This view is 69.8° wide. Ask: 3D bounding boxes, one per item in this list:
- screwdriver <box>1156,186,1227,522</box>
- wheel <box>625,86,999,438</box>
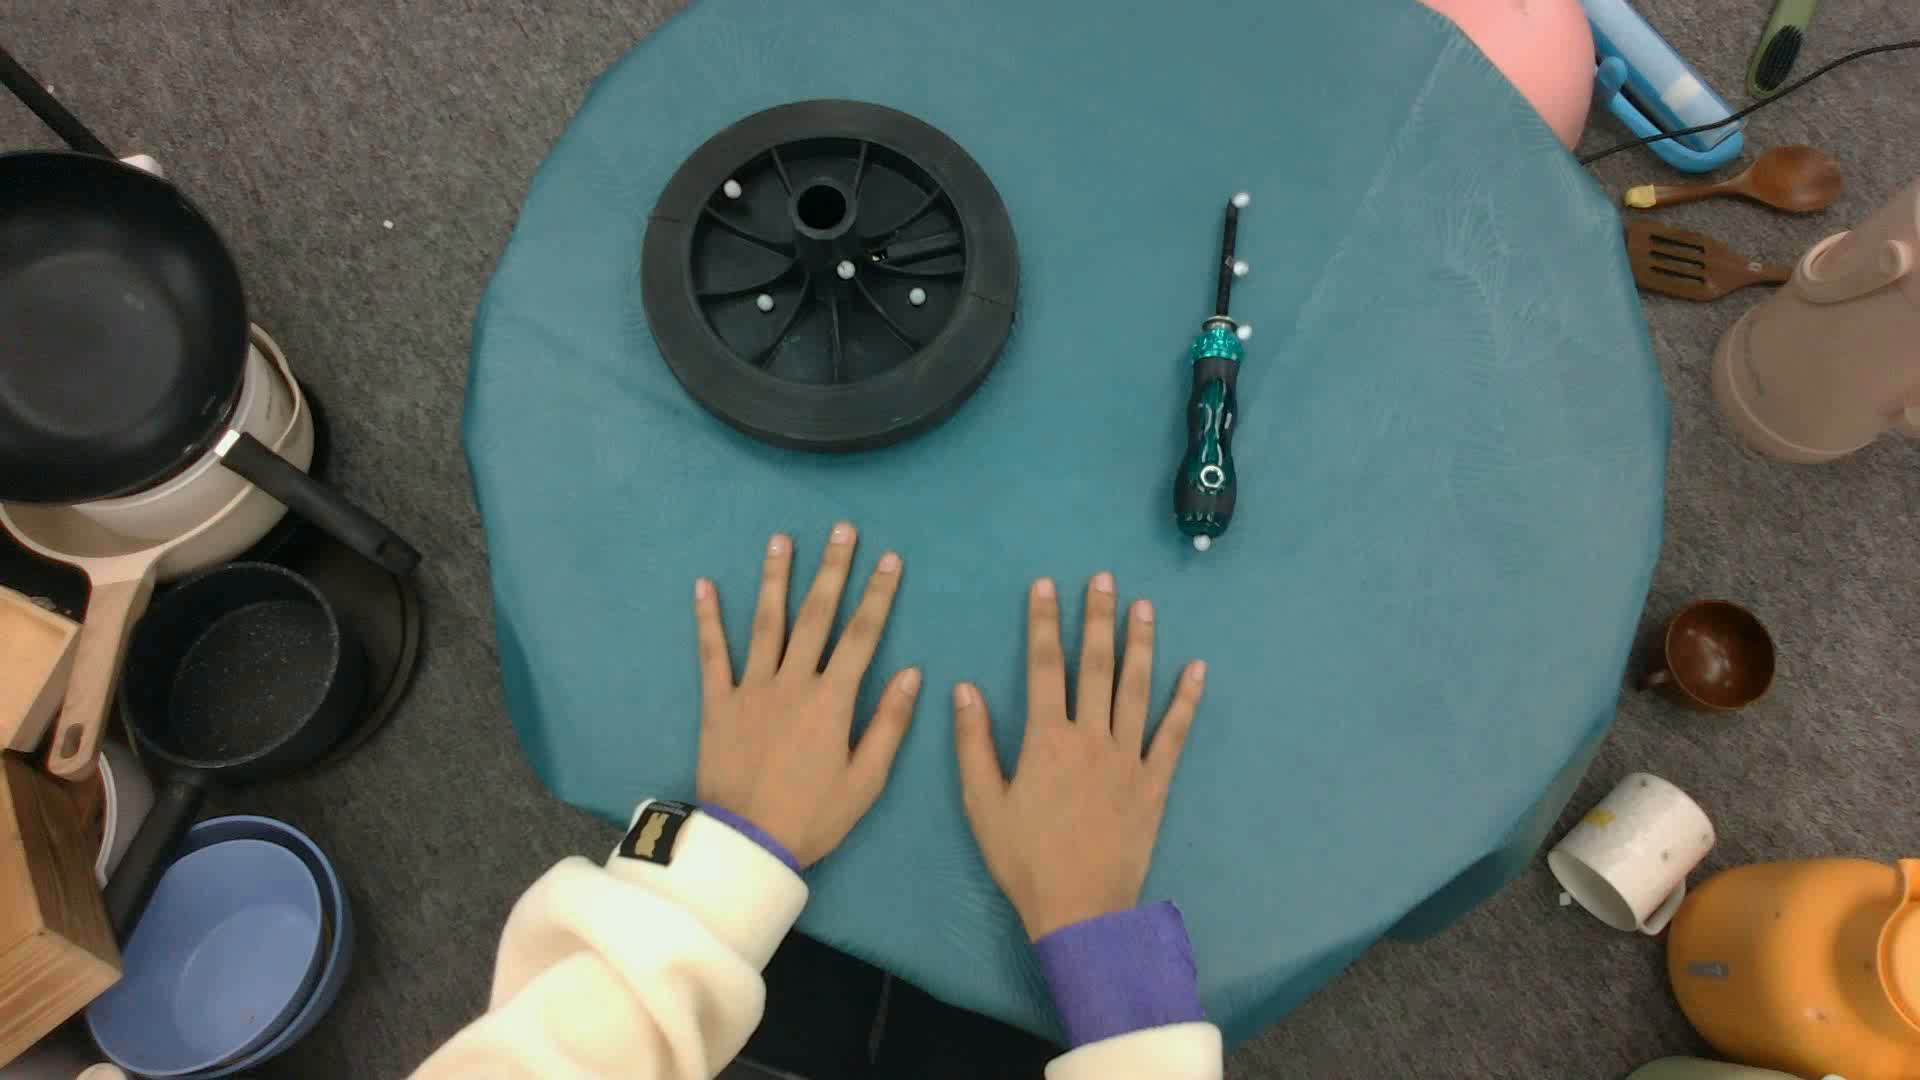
[{"bbox_3d":[0.121,-0.099,0.692,0.034,0.033,0.190,9,68,1],"label":"screwdriver"},{"bbox_3d":[-0.072,-0.148,0.671,0.190,0.079,0.187,-38,78,-12],"label":"wheel"}]
